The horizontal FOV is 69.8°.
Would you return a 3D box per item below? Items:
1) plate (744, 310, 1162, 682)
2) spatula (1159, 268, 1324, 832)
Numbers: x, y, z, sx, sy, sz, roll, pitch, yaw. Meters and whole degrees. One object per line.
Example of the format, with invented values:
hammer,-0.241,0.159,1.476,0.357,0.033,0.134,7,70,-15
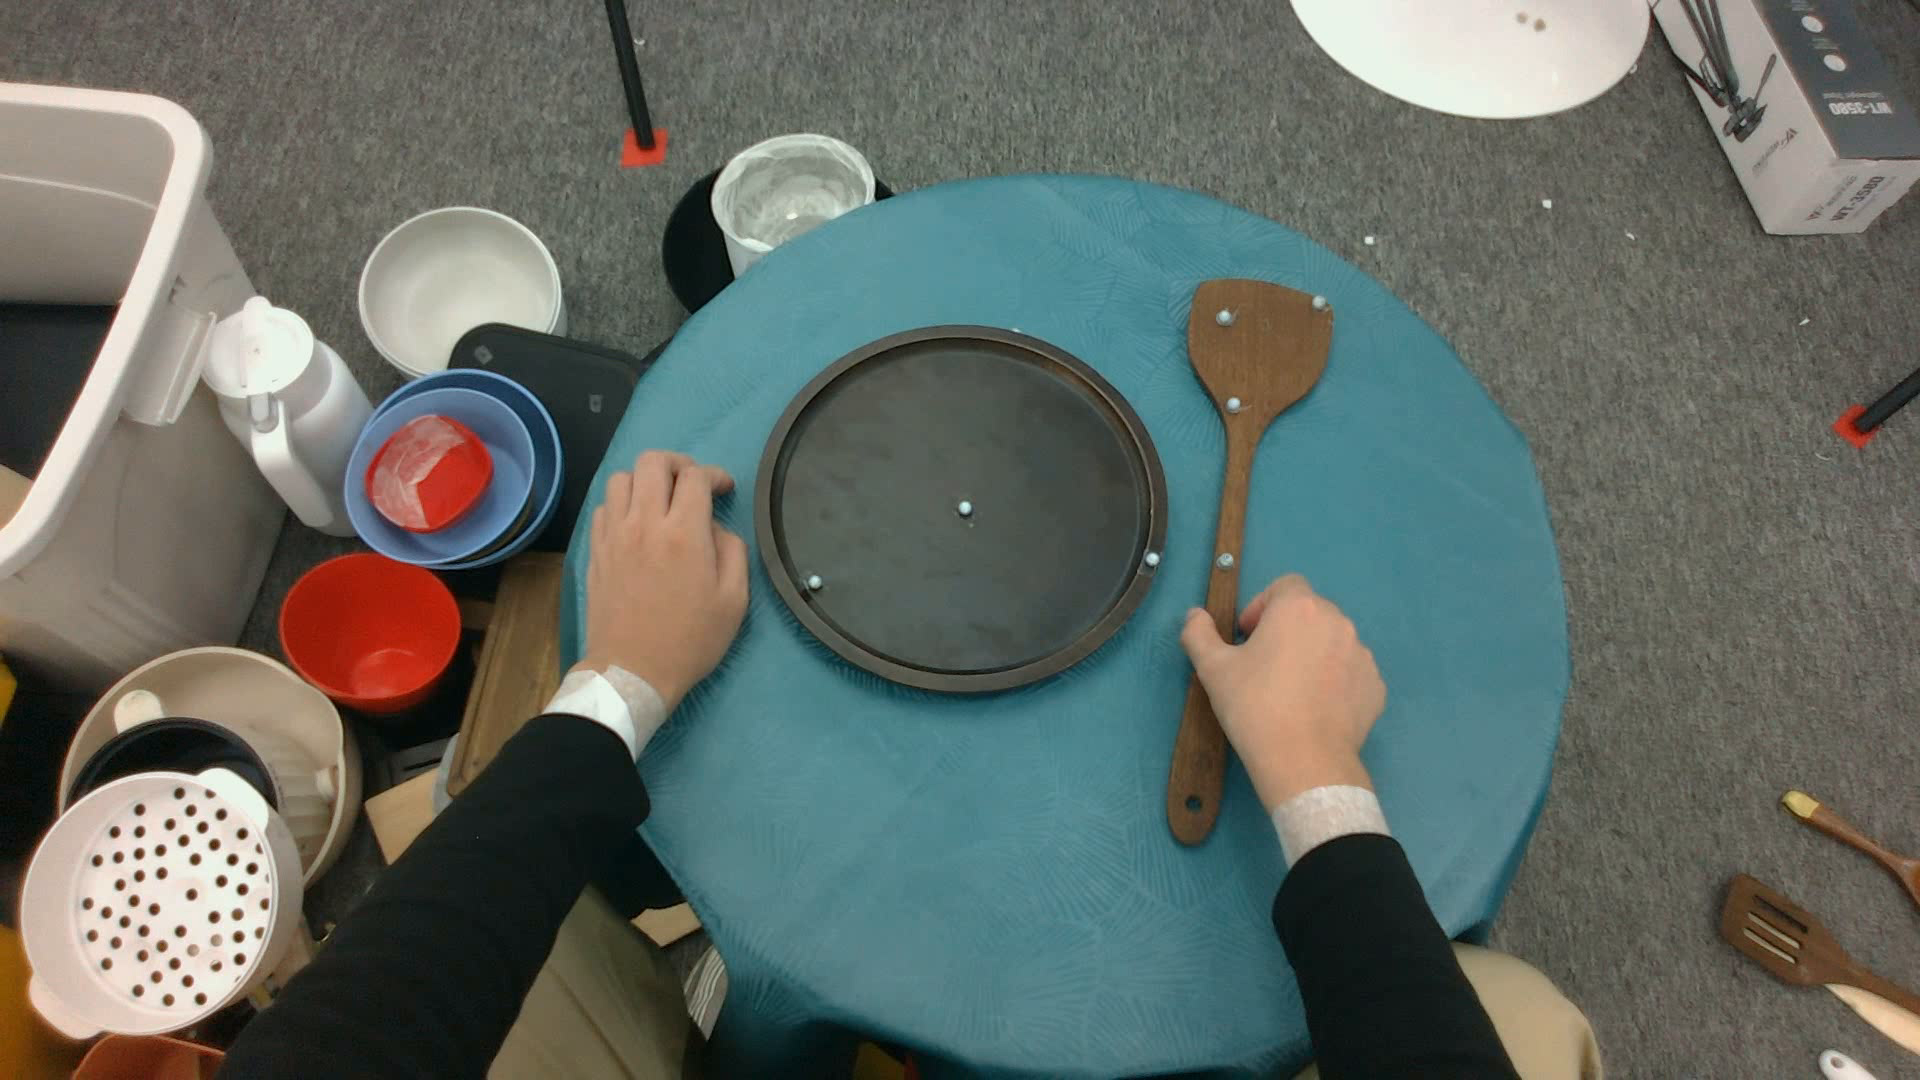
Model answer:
plate,-0.004,-0.032,0.839,0.255,0.029,0.255,2,64,-3
spatula,0.160,-0.011,0.840,0.096,0.016,0.387,11,64,3
